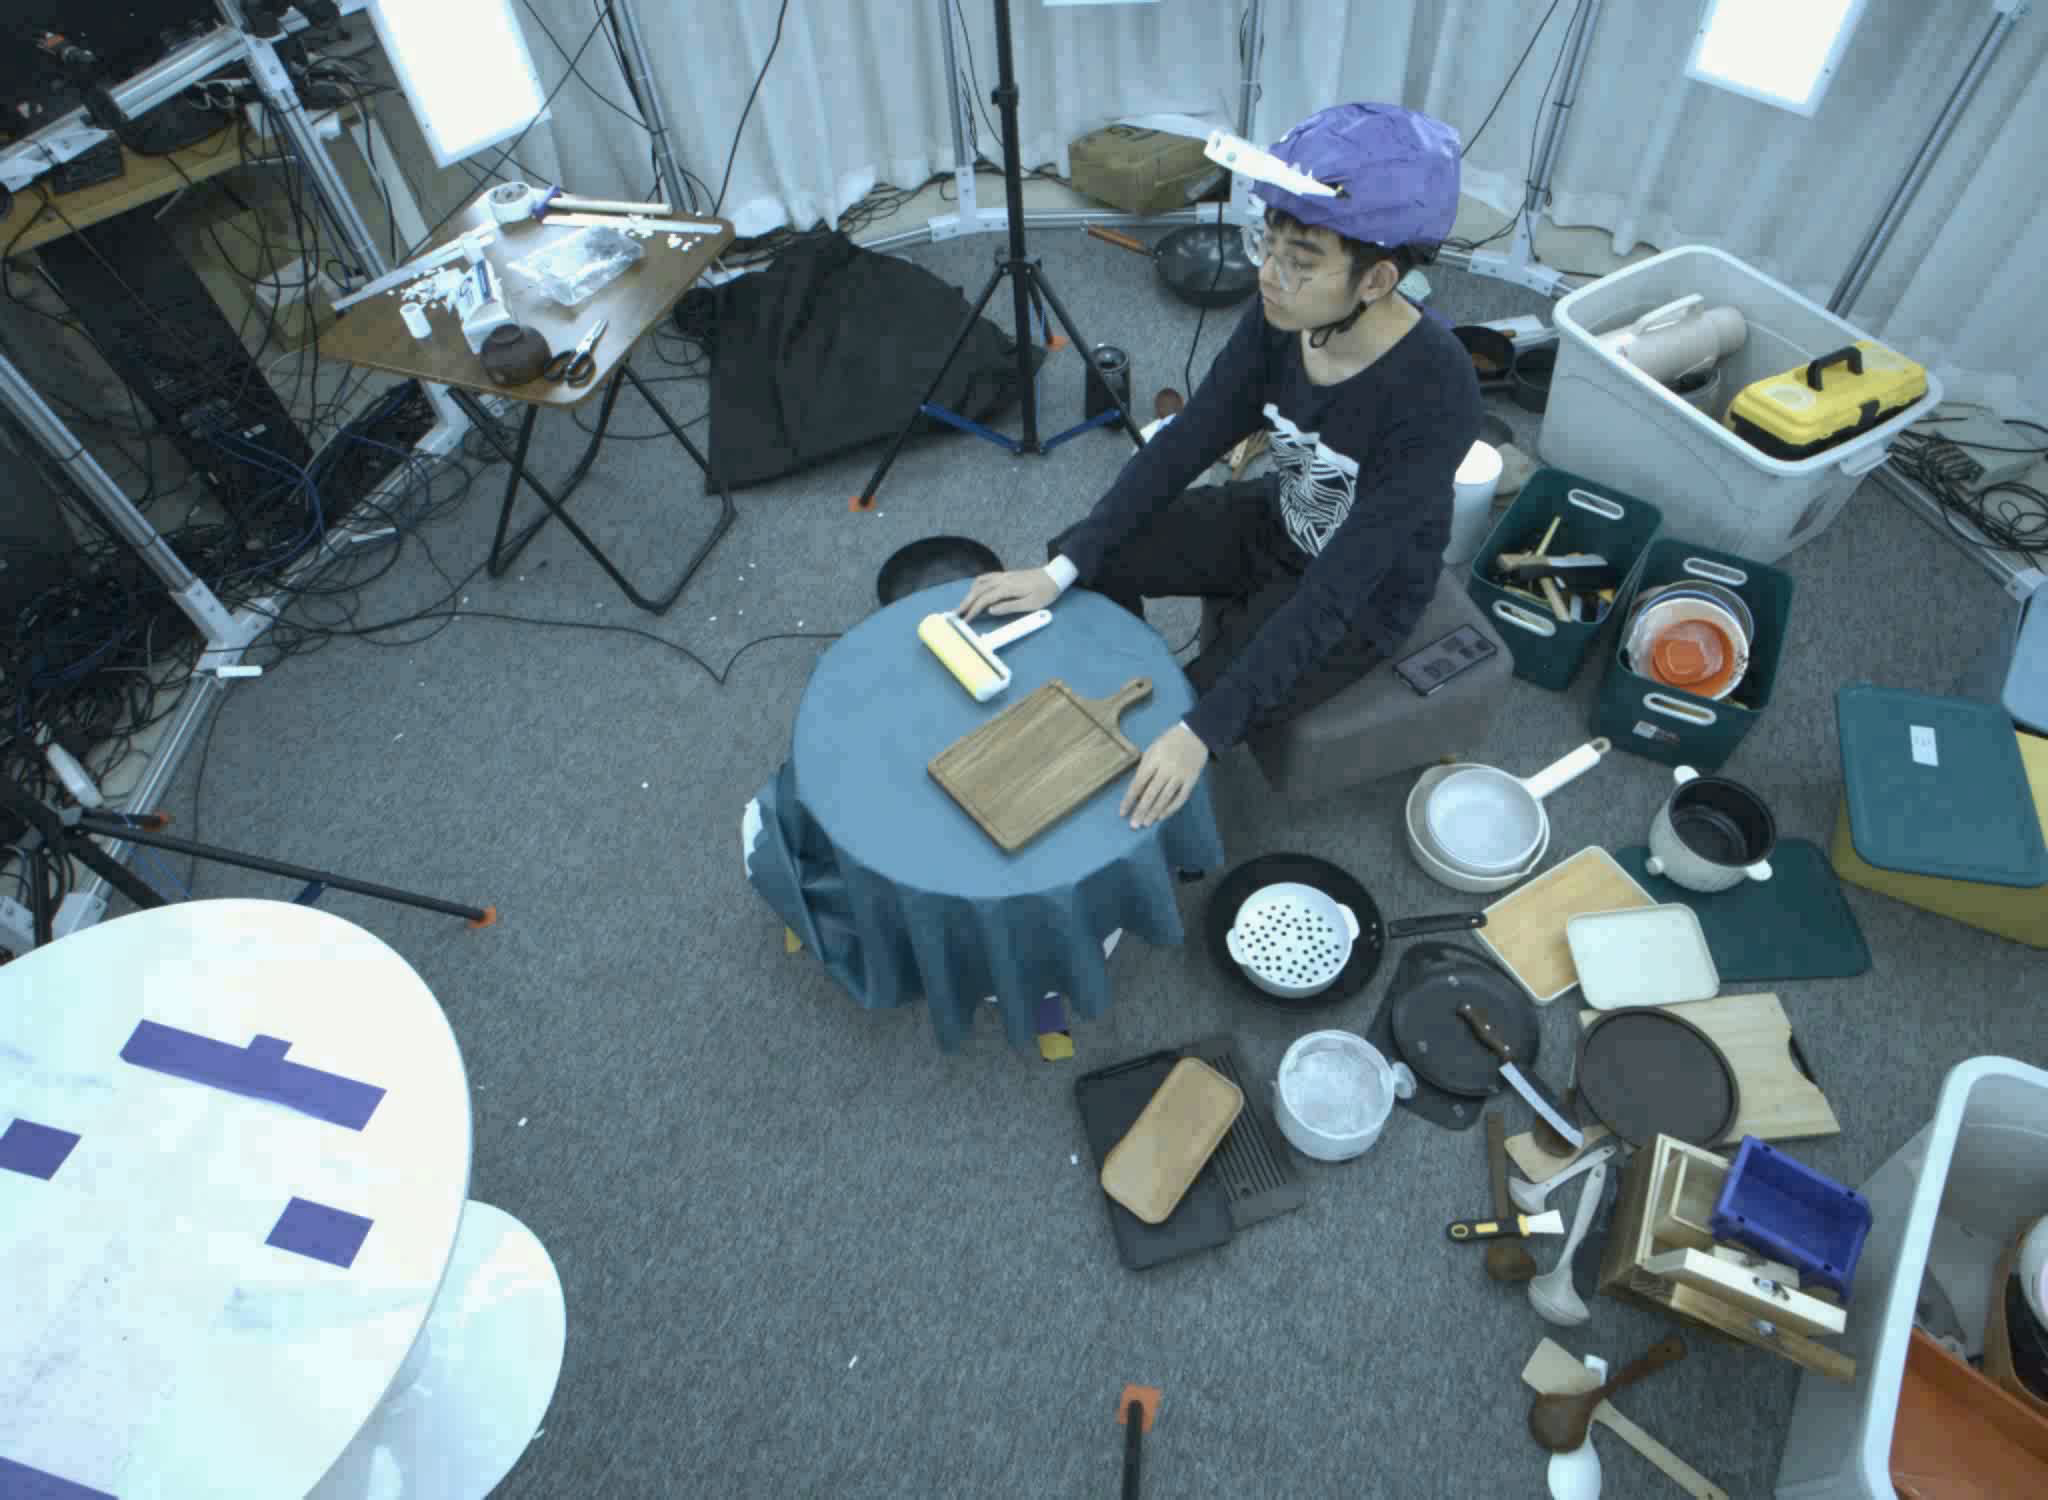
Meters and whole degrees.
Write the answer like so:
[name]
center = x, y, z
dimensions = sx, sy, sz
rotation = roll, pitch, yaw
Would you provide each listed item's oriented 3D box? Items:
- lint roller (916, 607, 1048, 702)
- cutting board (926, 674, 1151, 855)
[lint roller]
center = -0.044, -0.179, 1.894
dimensions = 0.193, 0.052, 0.171
rotation = -34, 61, -17
[cutting board]
center = 0.052, -0.009, 1.787
dimensions = 0.355, 0.023, 0.197
rotation = -35, 61, -22
